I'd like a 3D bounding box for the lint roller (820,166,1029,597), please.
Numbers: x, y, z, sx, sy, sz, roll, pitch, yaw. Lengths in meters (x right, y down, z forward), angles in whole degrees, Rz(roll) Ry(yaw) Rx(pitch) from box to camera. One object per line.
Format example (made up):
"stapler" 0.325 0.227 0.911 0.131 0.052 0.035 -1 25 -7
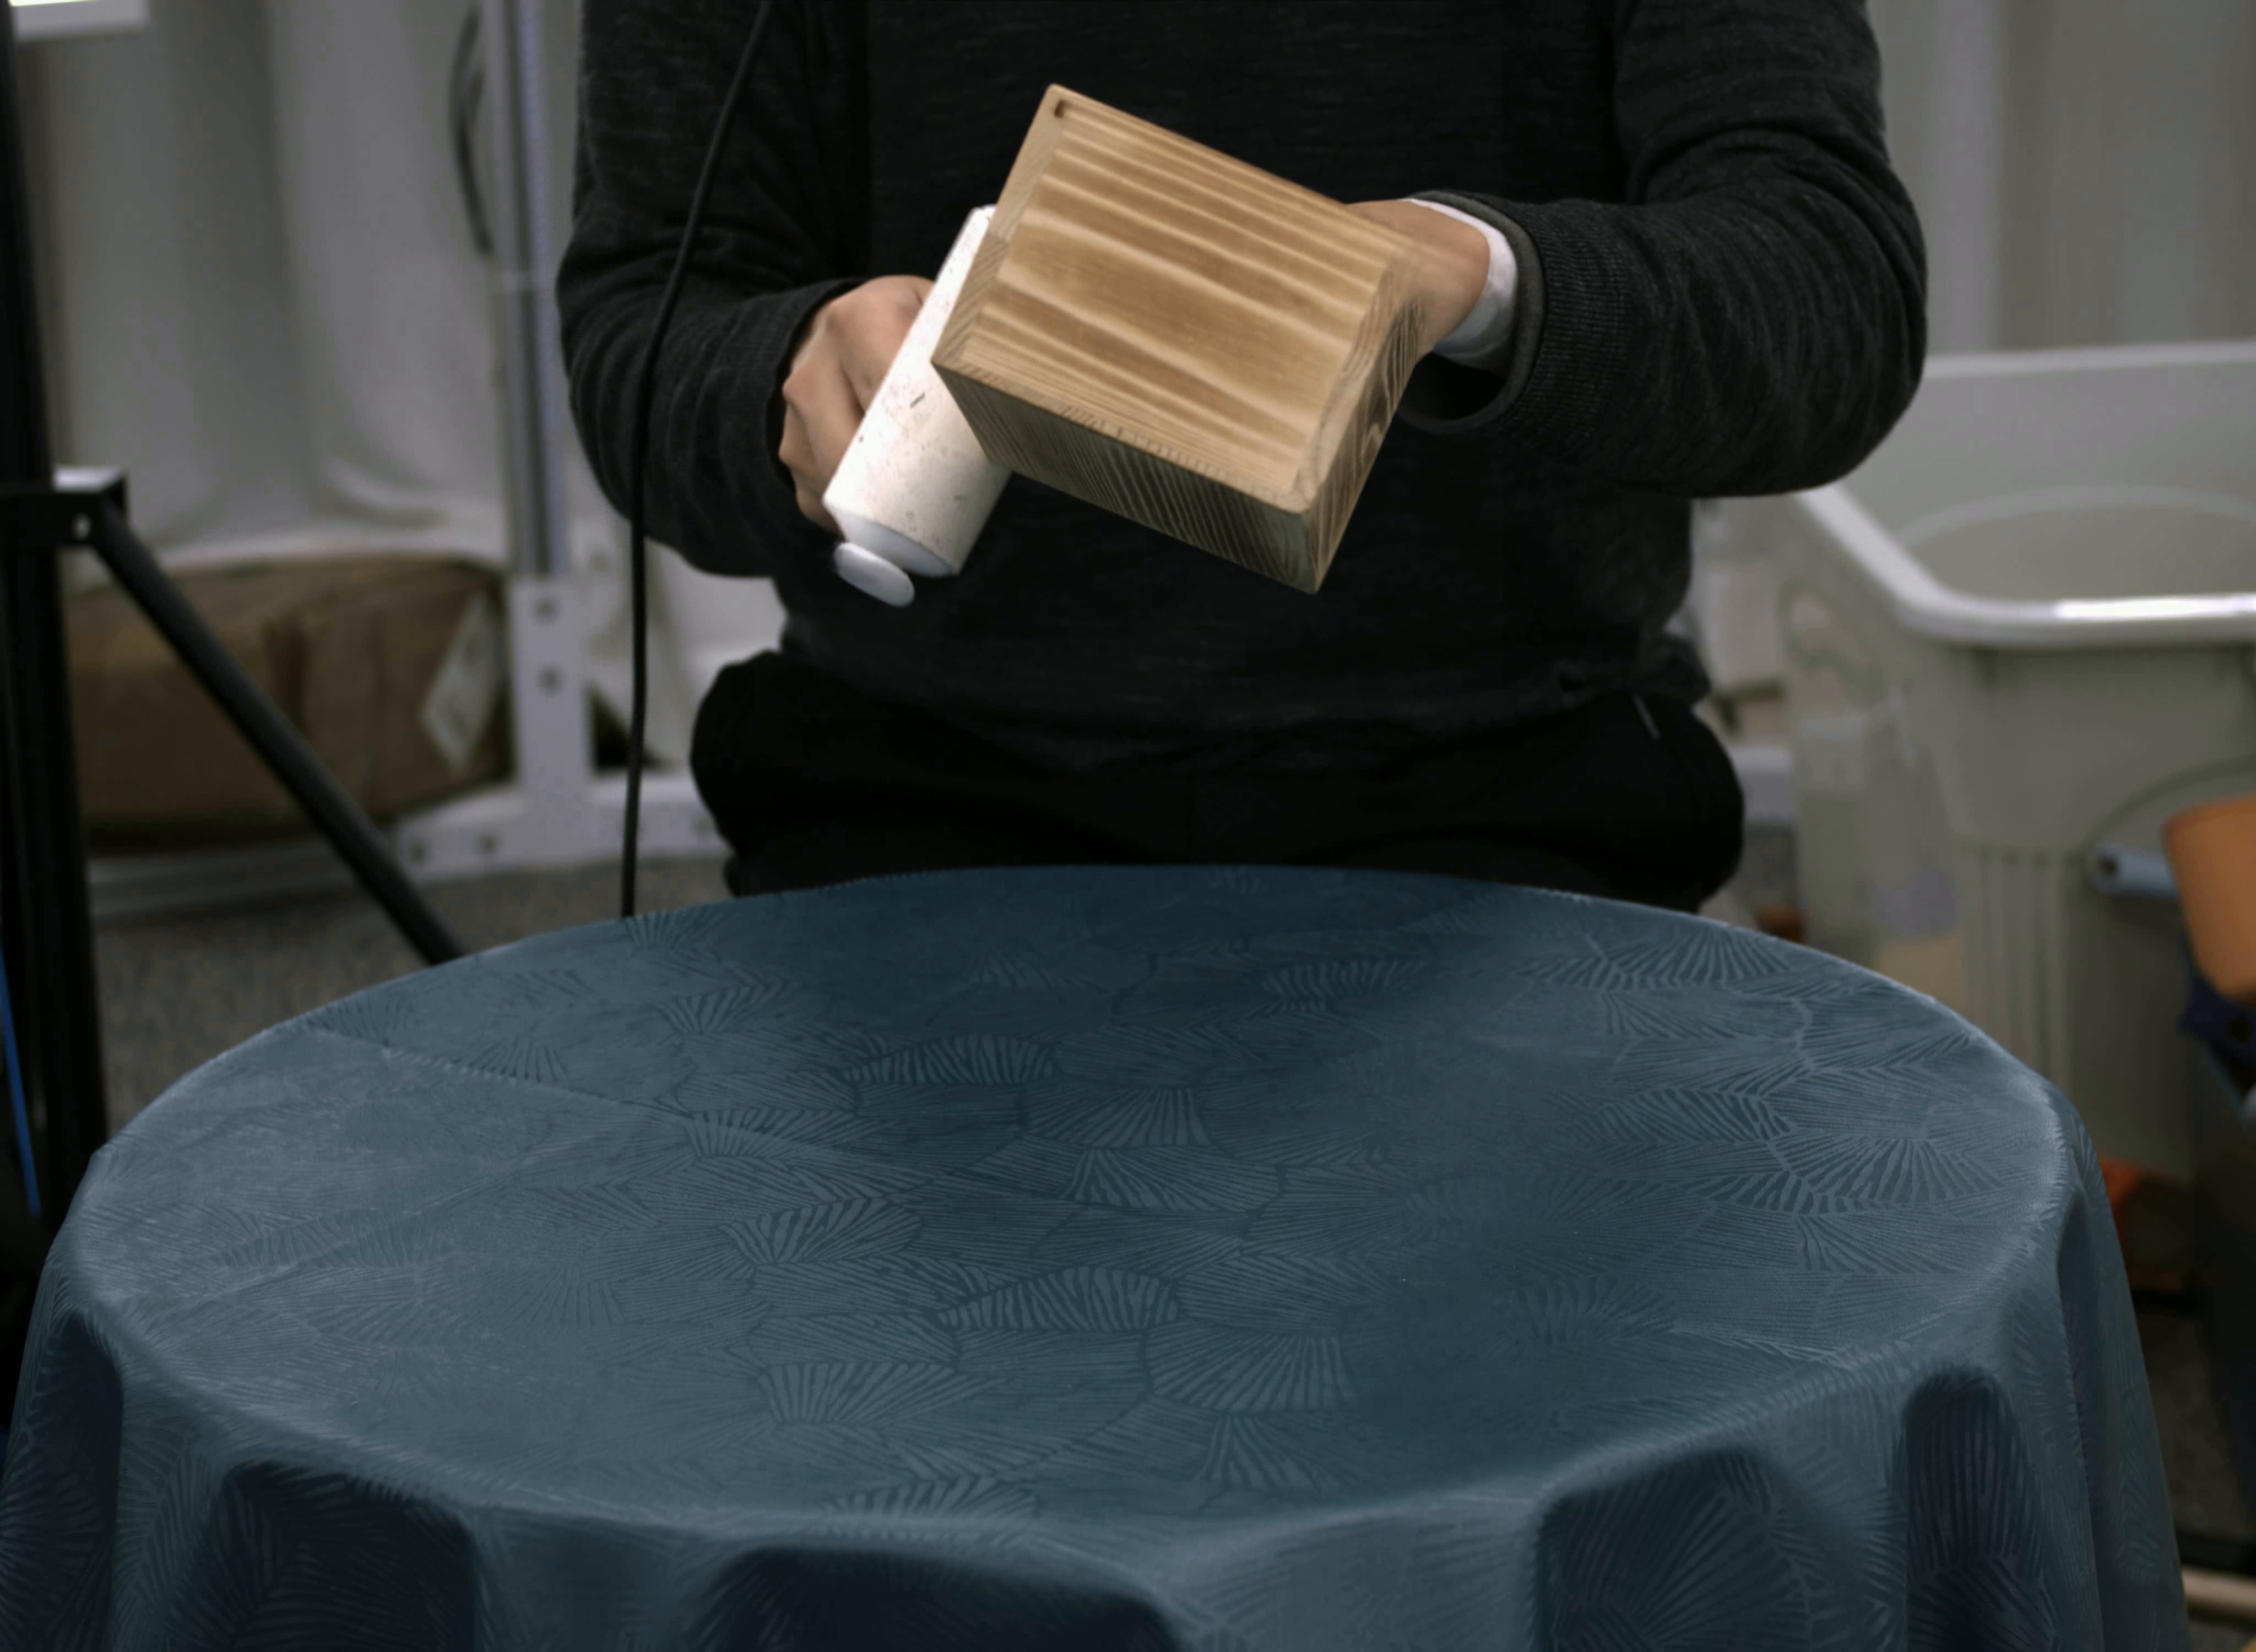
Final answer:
"lint roller" -0.068 -0.135 1.646 0.049 0.133 0.183 27 -4 -16

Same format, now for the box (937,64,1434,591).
"box" 0.017 -0.131 1.455 0.107 0.080 0.210 24 -2 3
